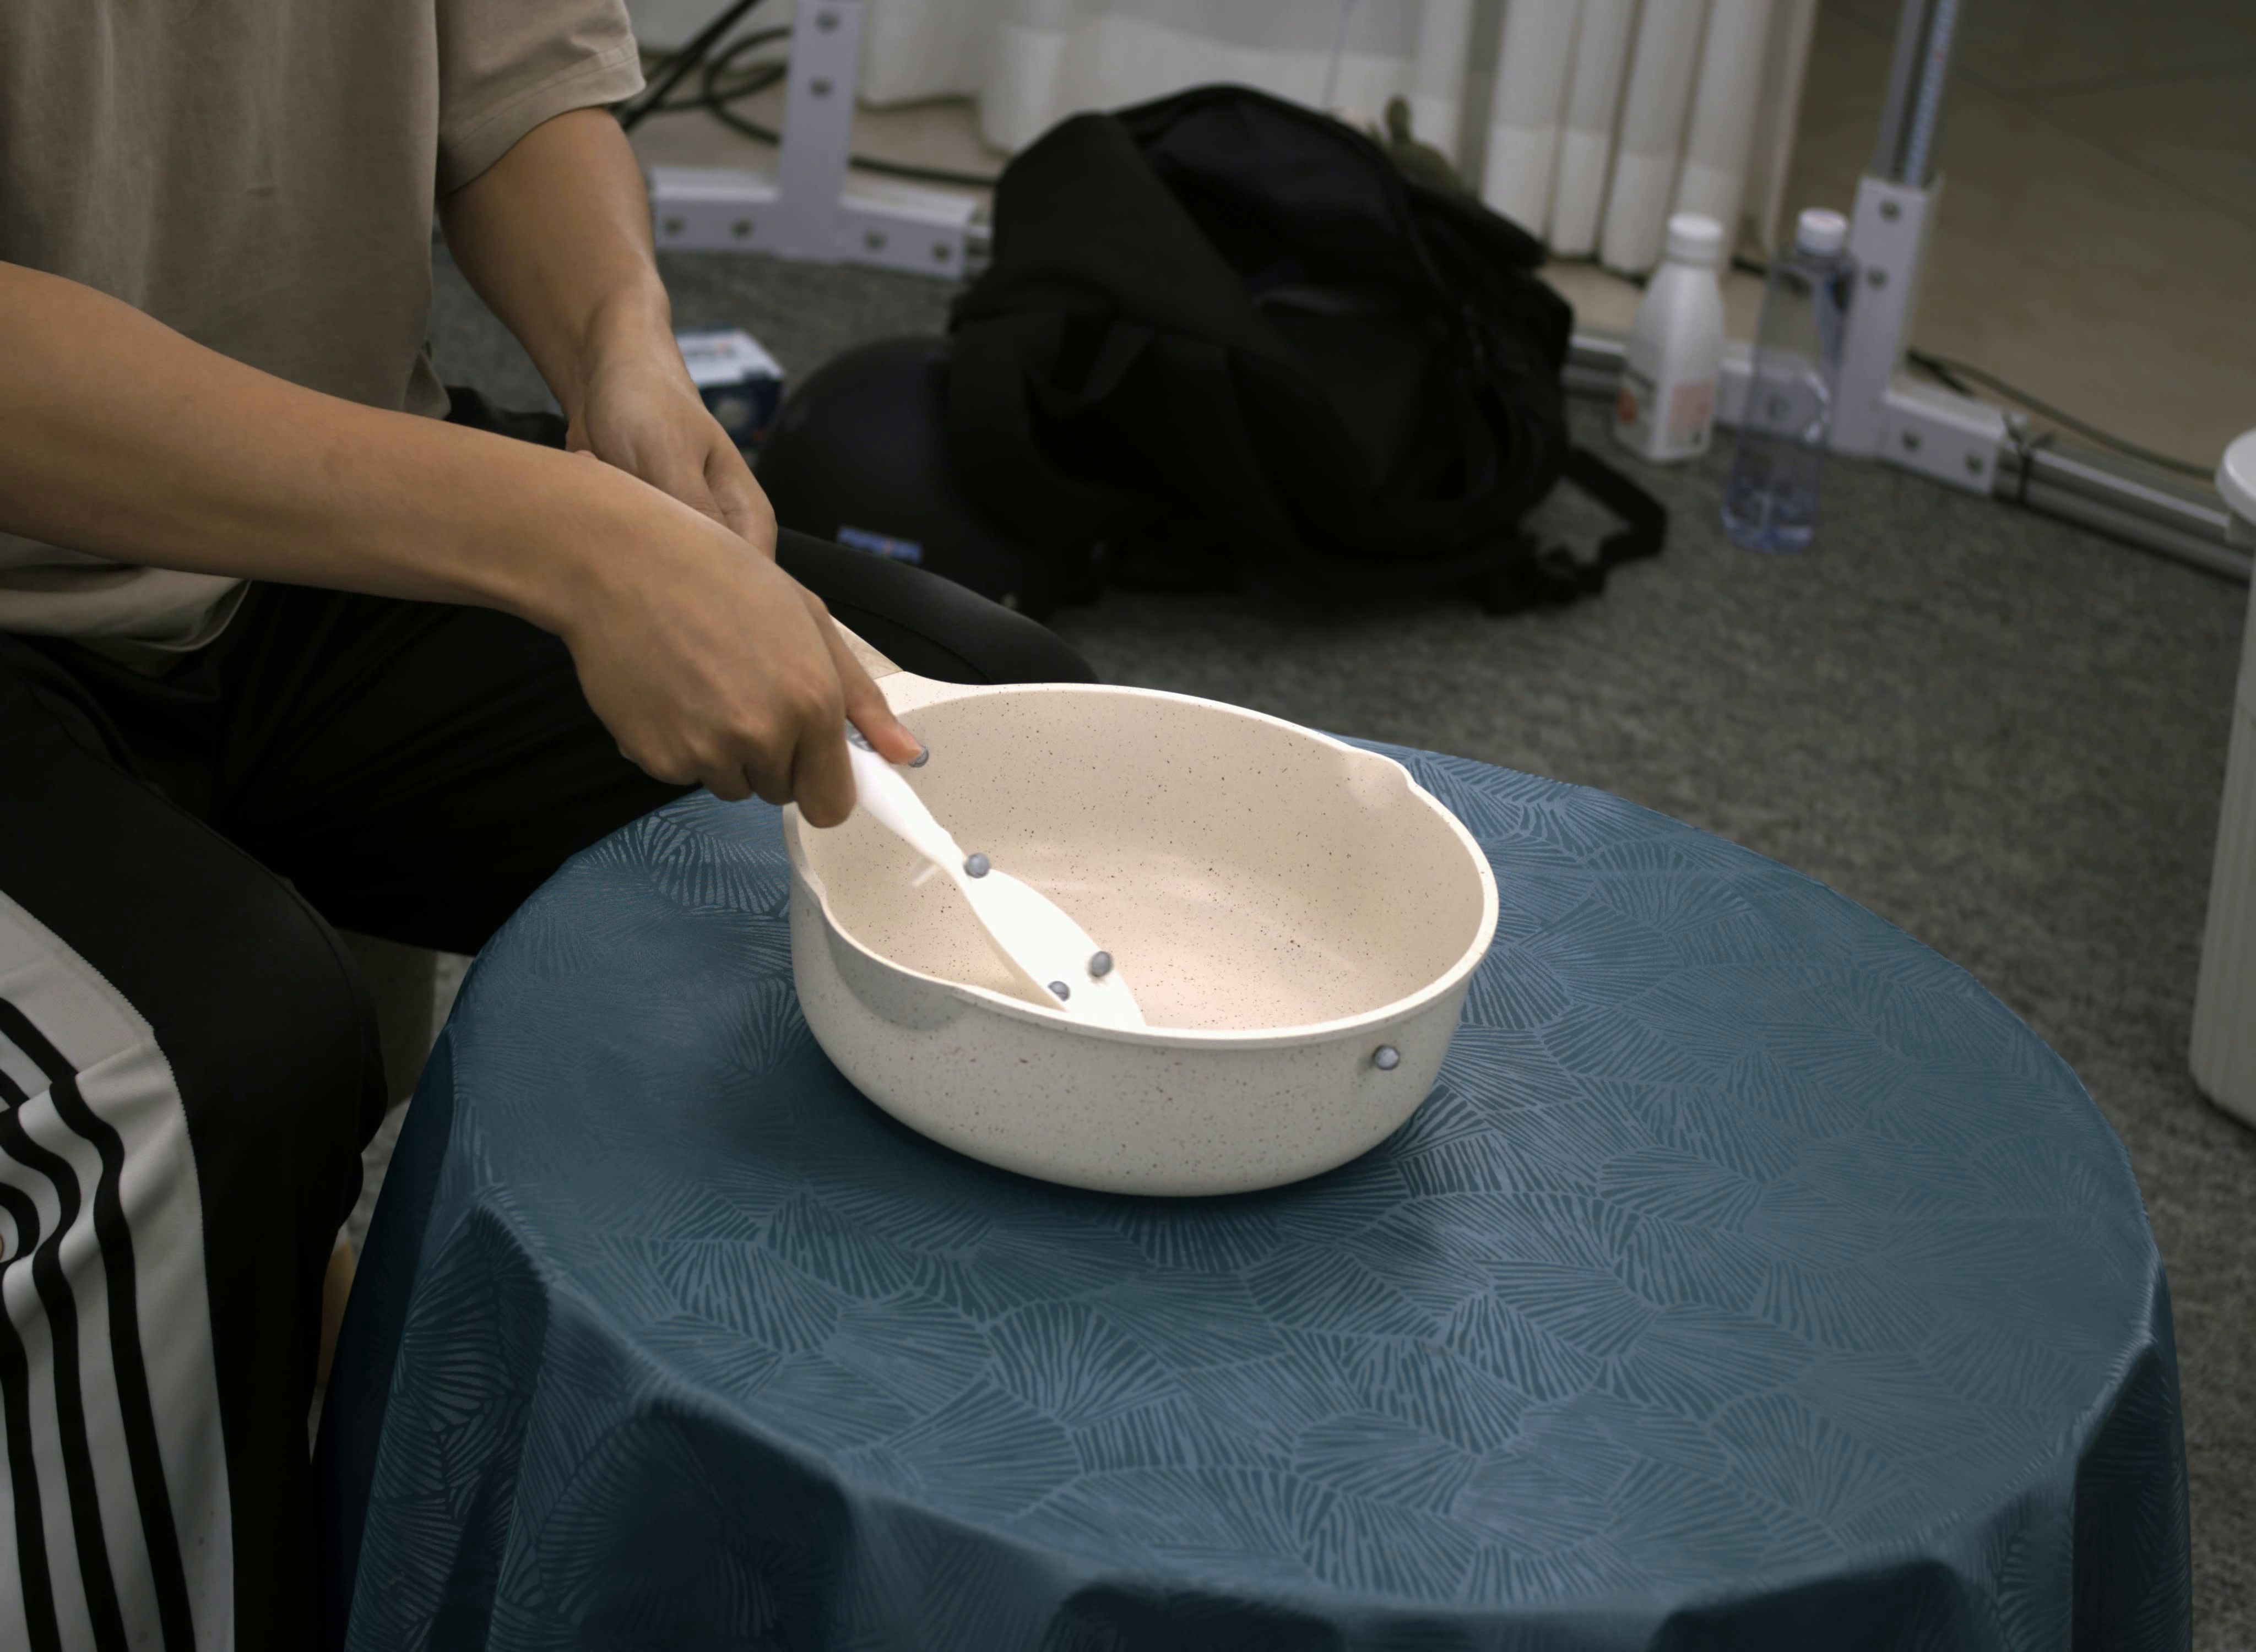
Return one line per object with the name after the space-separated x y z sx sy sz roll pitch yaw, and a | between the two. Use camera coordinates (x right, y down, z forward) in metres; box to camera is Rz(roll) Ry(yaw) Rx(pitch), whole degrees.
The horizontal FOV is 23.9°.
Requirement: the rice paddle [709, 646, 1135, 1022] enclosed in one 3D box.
-0.063 0.011 1.841 0.204 0.029 0.069 42 21 -24 | rice paddle

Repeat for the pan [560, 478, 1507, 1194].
-0.060 -0.001 1.923 0.262 0.101 0.438 -22 39 -40 | pan
